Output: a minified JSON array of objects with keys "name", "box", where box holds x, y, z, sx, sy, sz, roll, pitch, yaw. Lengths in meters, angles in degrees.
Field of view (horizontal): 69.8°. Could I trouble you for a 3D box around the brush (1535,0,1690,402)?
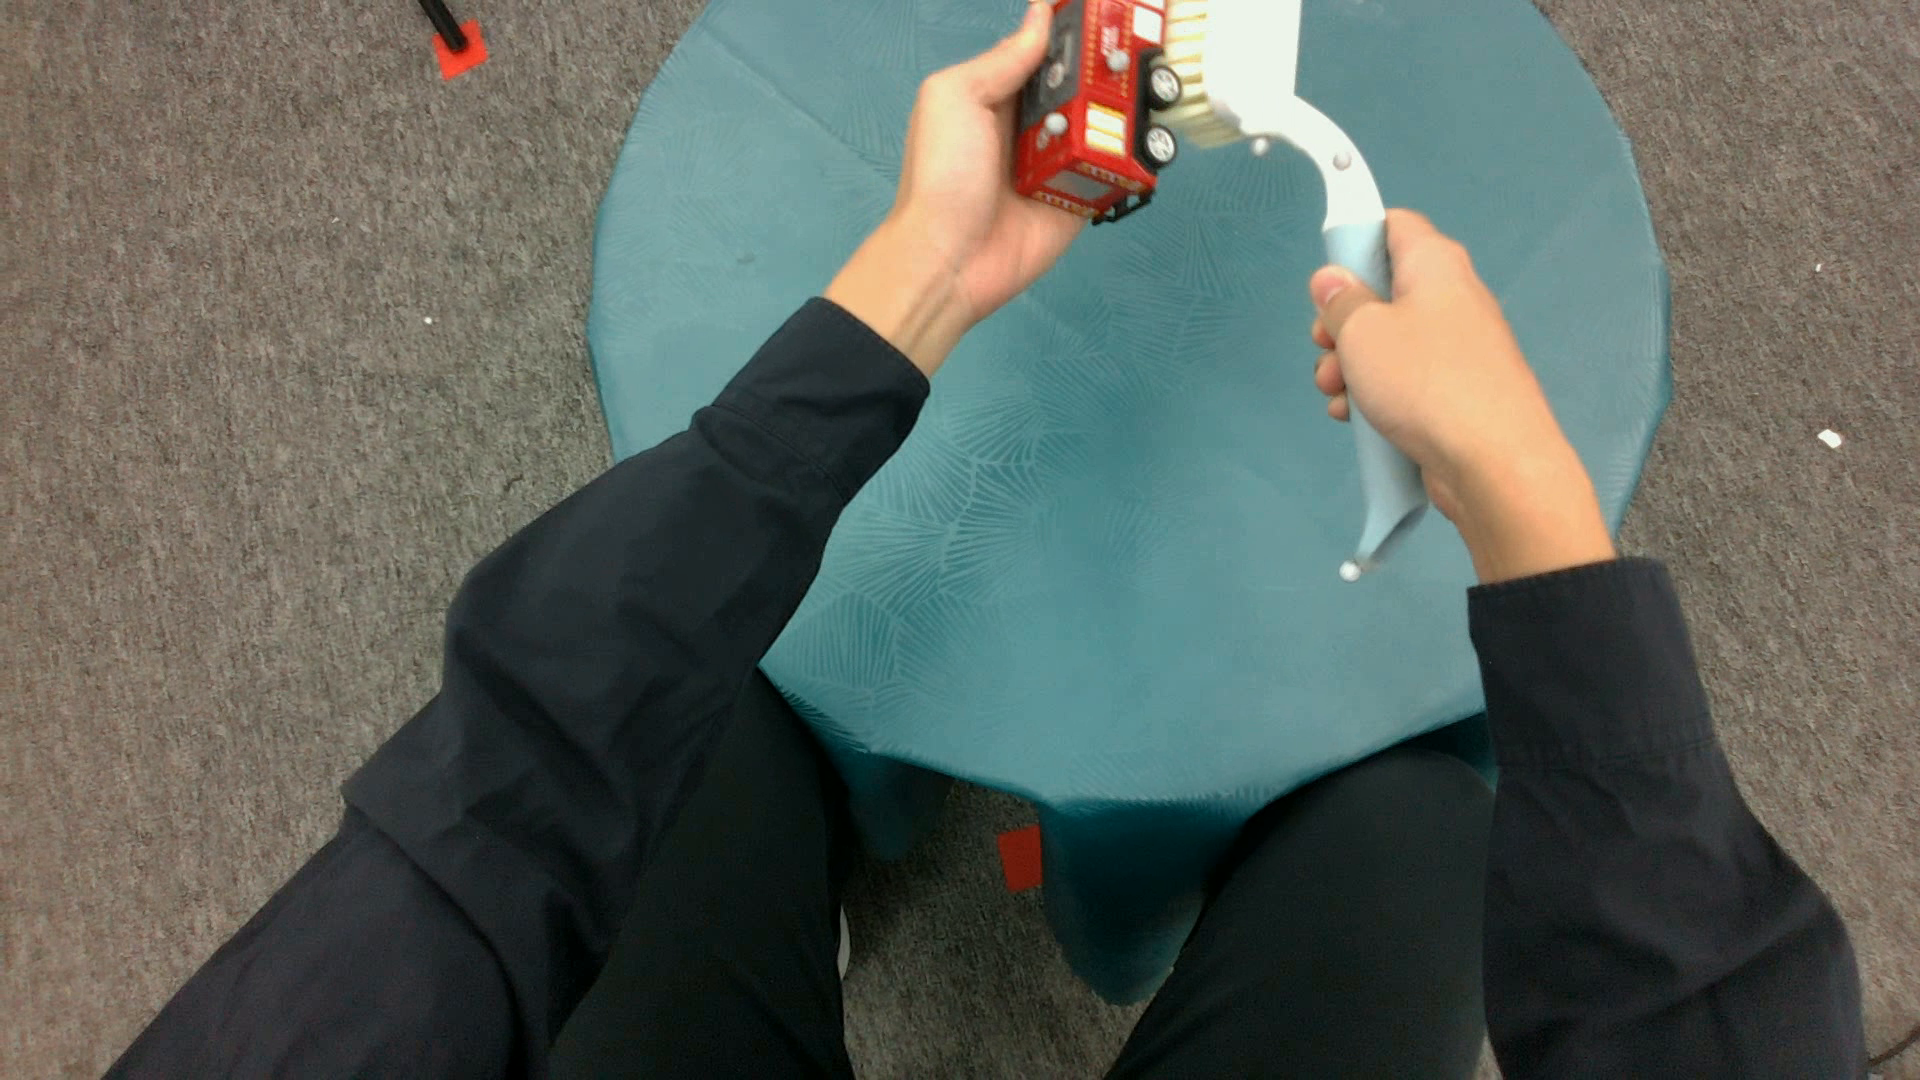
[{"name":"brush","box":[0.222,-0.216,0.522,0.083,0.084,0.325,9,92,-16]}]
